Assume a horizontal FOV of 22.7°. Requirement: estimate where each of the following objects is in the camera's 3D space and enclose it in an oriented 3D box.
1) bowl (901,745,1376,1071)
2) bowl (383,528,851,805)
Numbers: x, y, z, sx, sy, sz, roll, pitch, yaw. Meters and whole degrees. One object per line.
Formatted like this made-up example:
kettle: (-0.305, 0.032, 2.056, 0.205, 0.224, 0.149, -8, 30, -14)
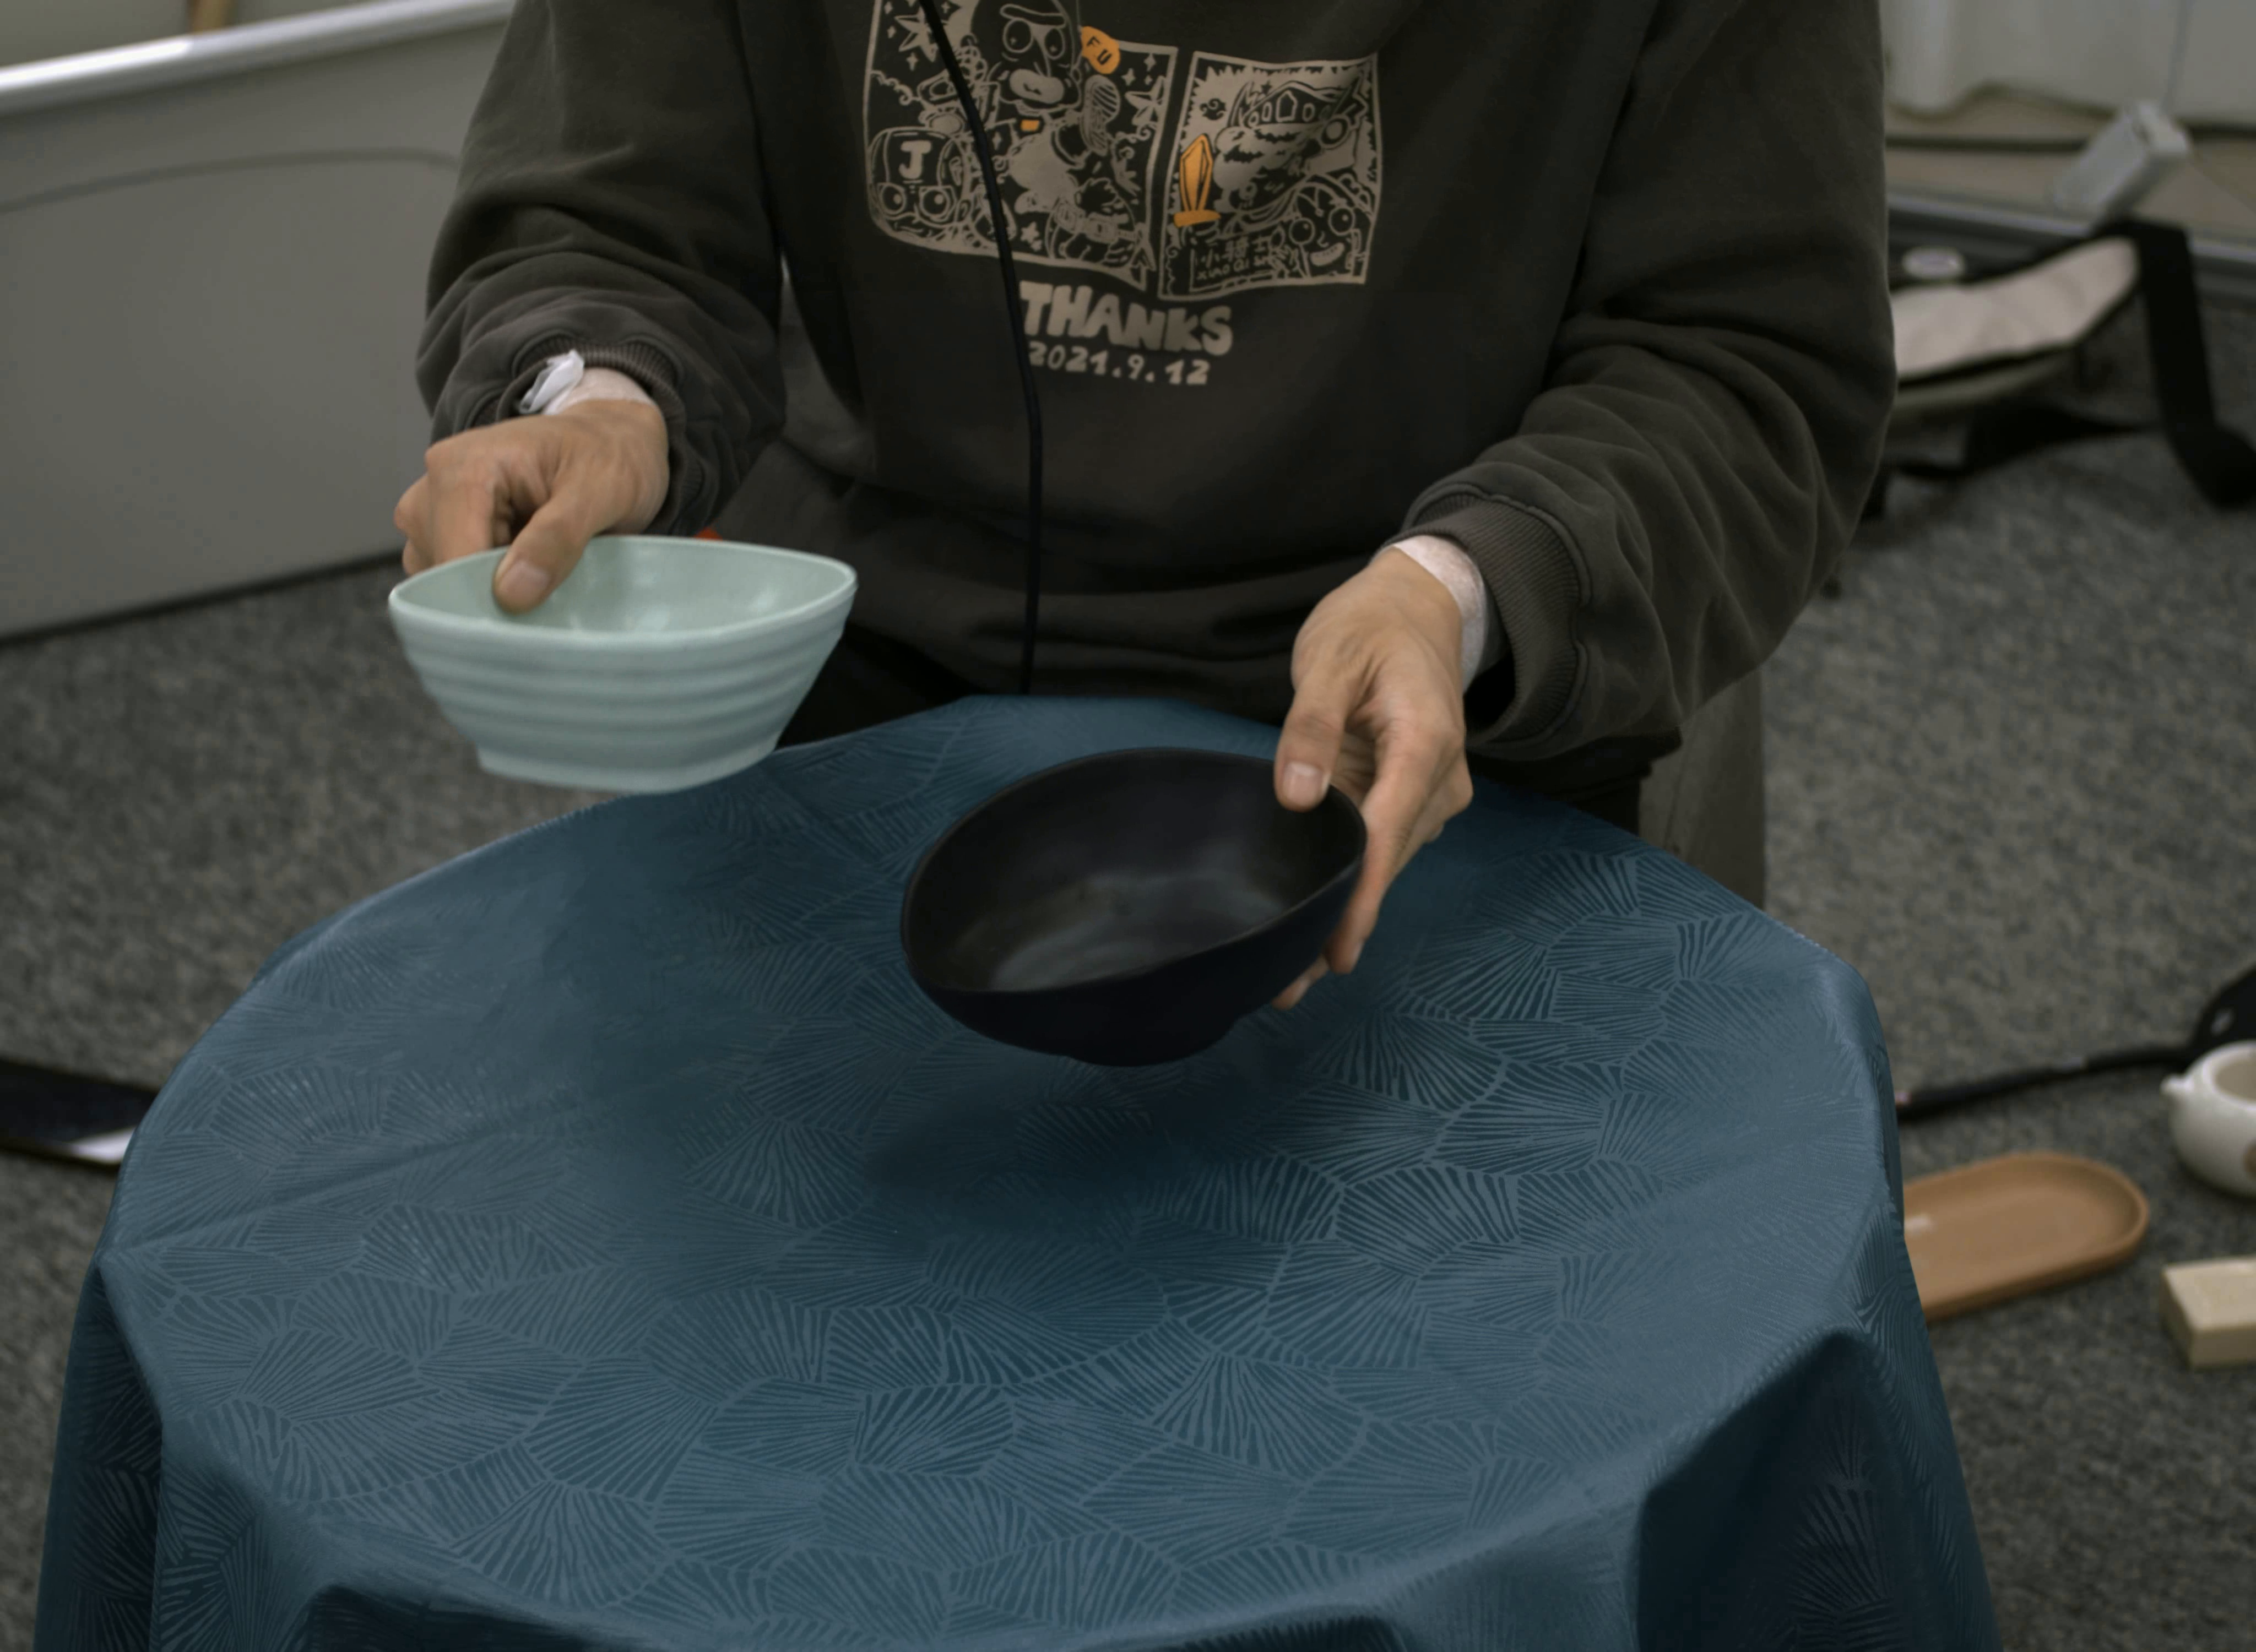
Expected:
bowl: (0.006, 0.038, 1.878, 0.172, 0.066, 0.137, -25, 35, -32)
bowl: (-0.164, -0.049, 1.810, 0.151, 0.058, 0.153, 2, 17, 0)
